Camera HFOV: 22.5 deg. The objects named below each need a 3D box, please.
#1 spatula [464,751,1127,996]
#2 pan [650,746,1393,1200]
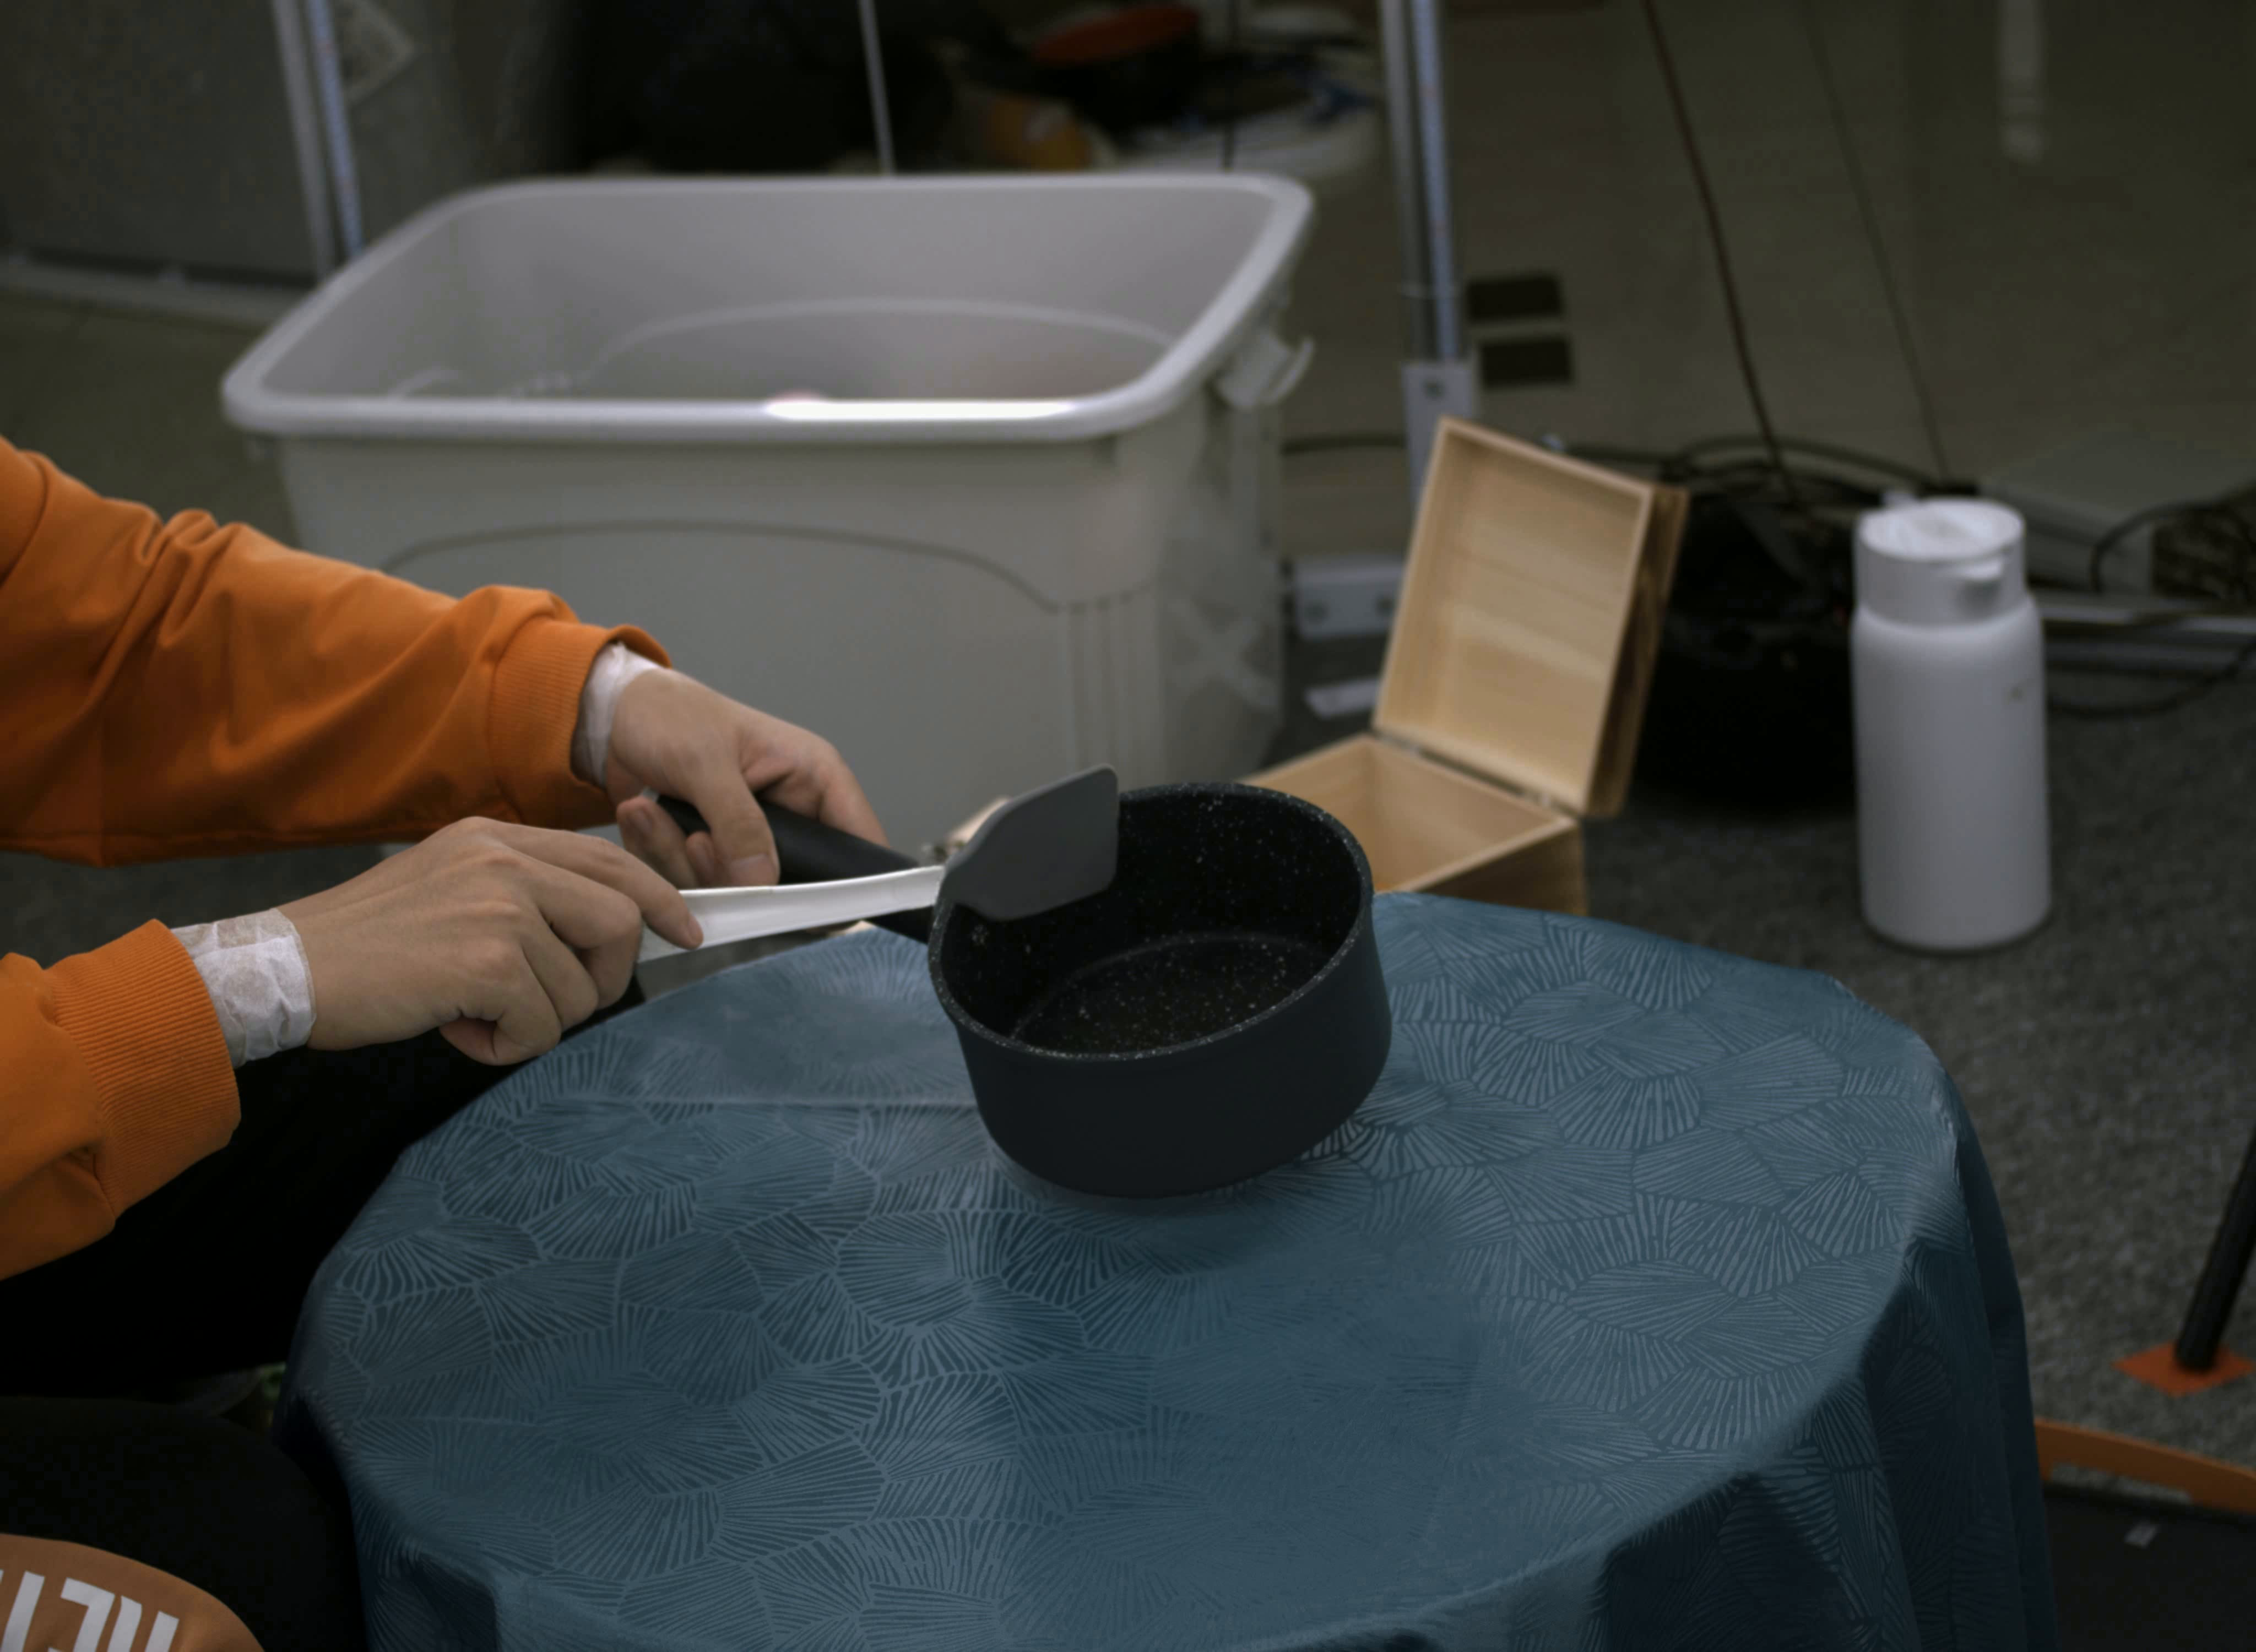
[{"bbox_3d":[-0.114,0.022,2.109,0.286,0.059,0.032,-11,20,-33],"label":"spatula"},{"bbox_3d":[-0.049,0.045,2.201,0.326,0.088,0.170,16,44,33],"label":"pan"}]
